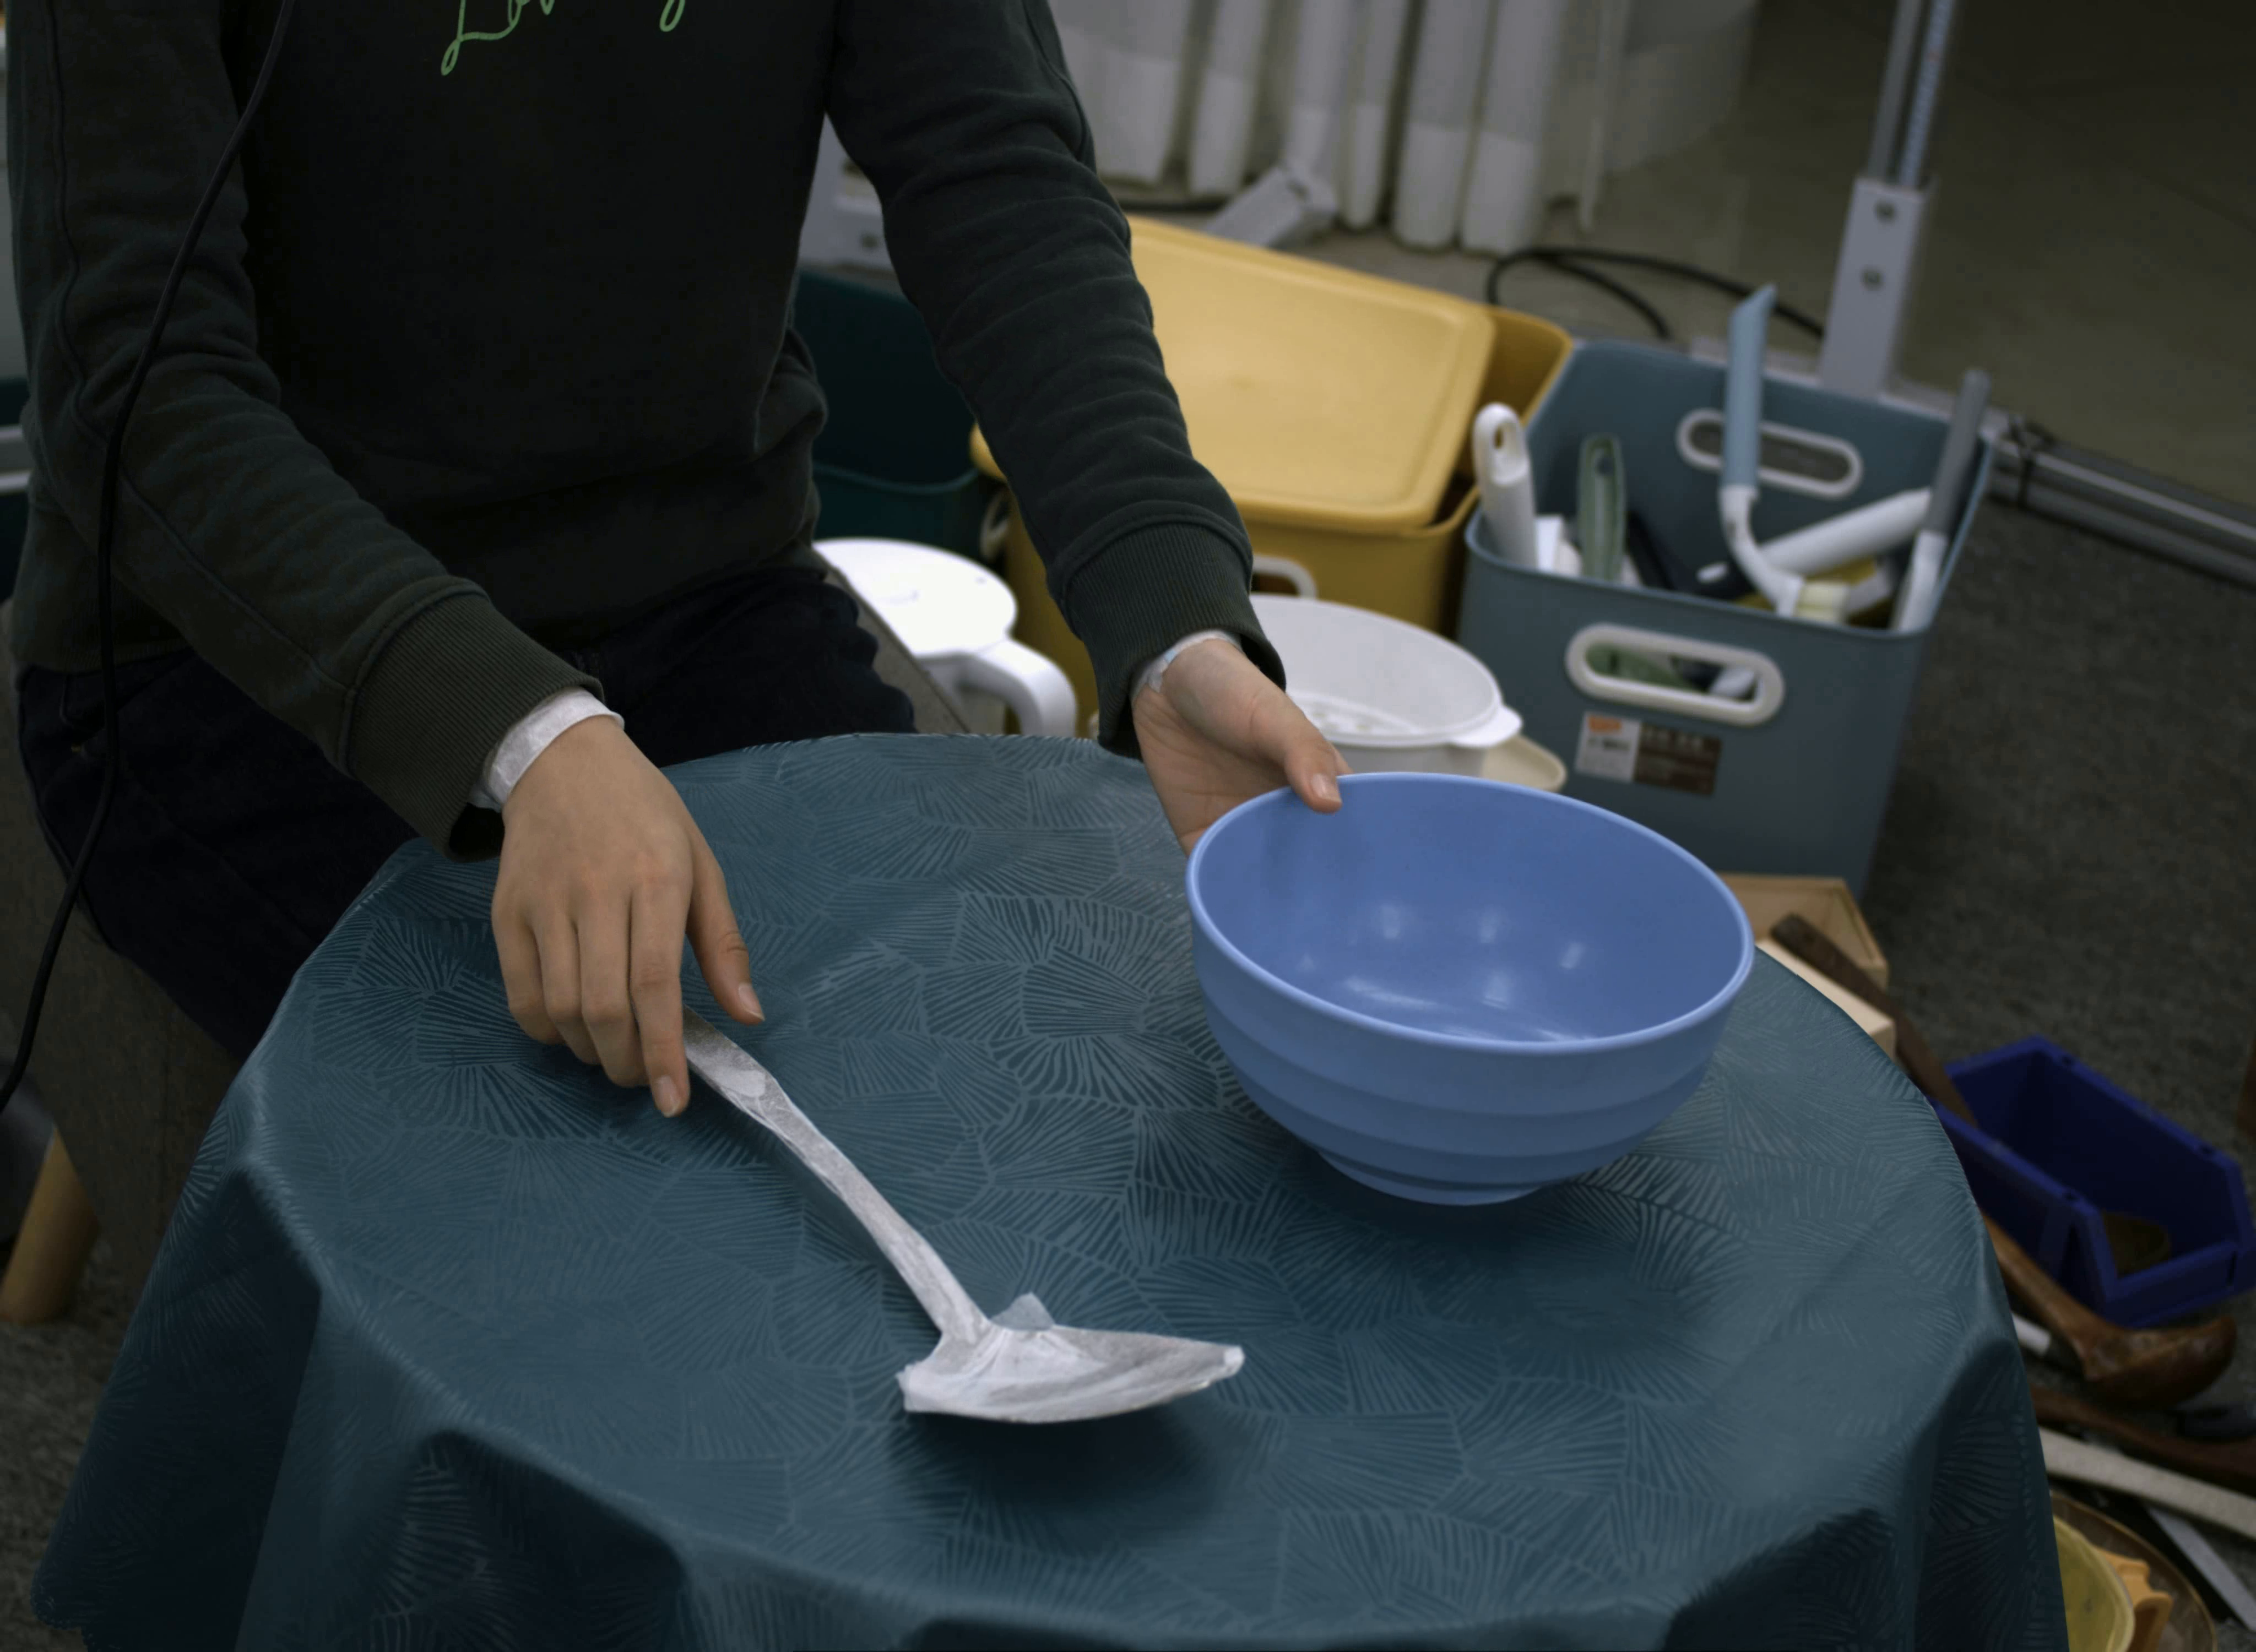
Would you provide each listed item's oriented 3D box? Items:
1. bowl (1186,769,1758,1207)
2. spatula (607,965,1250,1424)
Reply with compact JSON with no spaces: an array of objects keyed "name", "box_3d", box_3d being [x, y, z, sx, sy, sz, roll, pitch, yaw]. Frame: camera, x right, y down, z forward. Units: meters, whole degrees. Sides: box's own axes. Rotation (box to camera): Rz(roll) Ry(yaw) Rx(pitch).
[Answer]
[{"name":"bowl","box_3d":[0.113,0.067,1.832,0.196,0.095,0.198,5,28,-3]},{"name":"spatula","box_3d":[-0.090,0.113,1.758,0.098,0.044,0.368,-12,32,-29]}]
